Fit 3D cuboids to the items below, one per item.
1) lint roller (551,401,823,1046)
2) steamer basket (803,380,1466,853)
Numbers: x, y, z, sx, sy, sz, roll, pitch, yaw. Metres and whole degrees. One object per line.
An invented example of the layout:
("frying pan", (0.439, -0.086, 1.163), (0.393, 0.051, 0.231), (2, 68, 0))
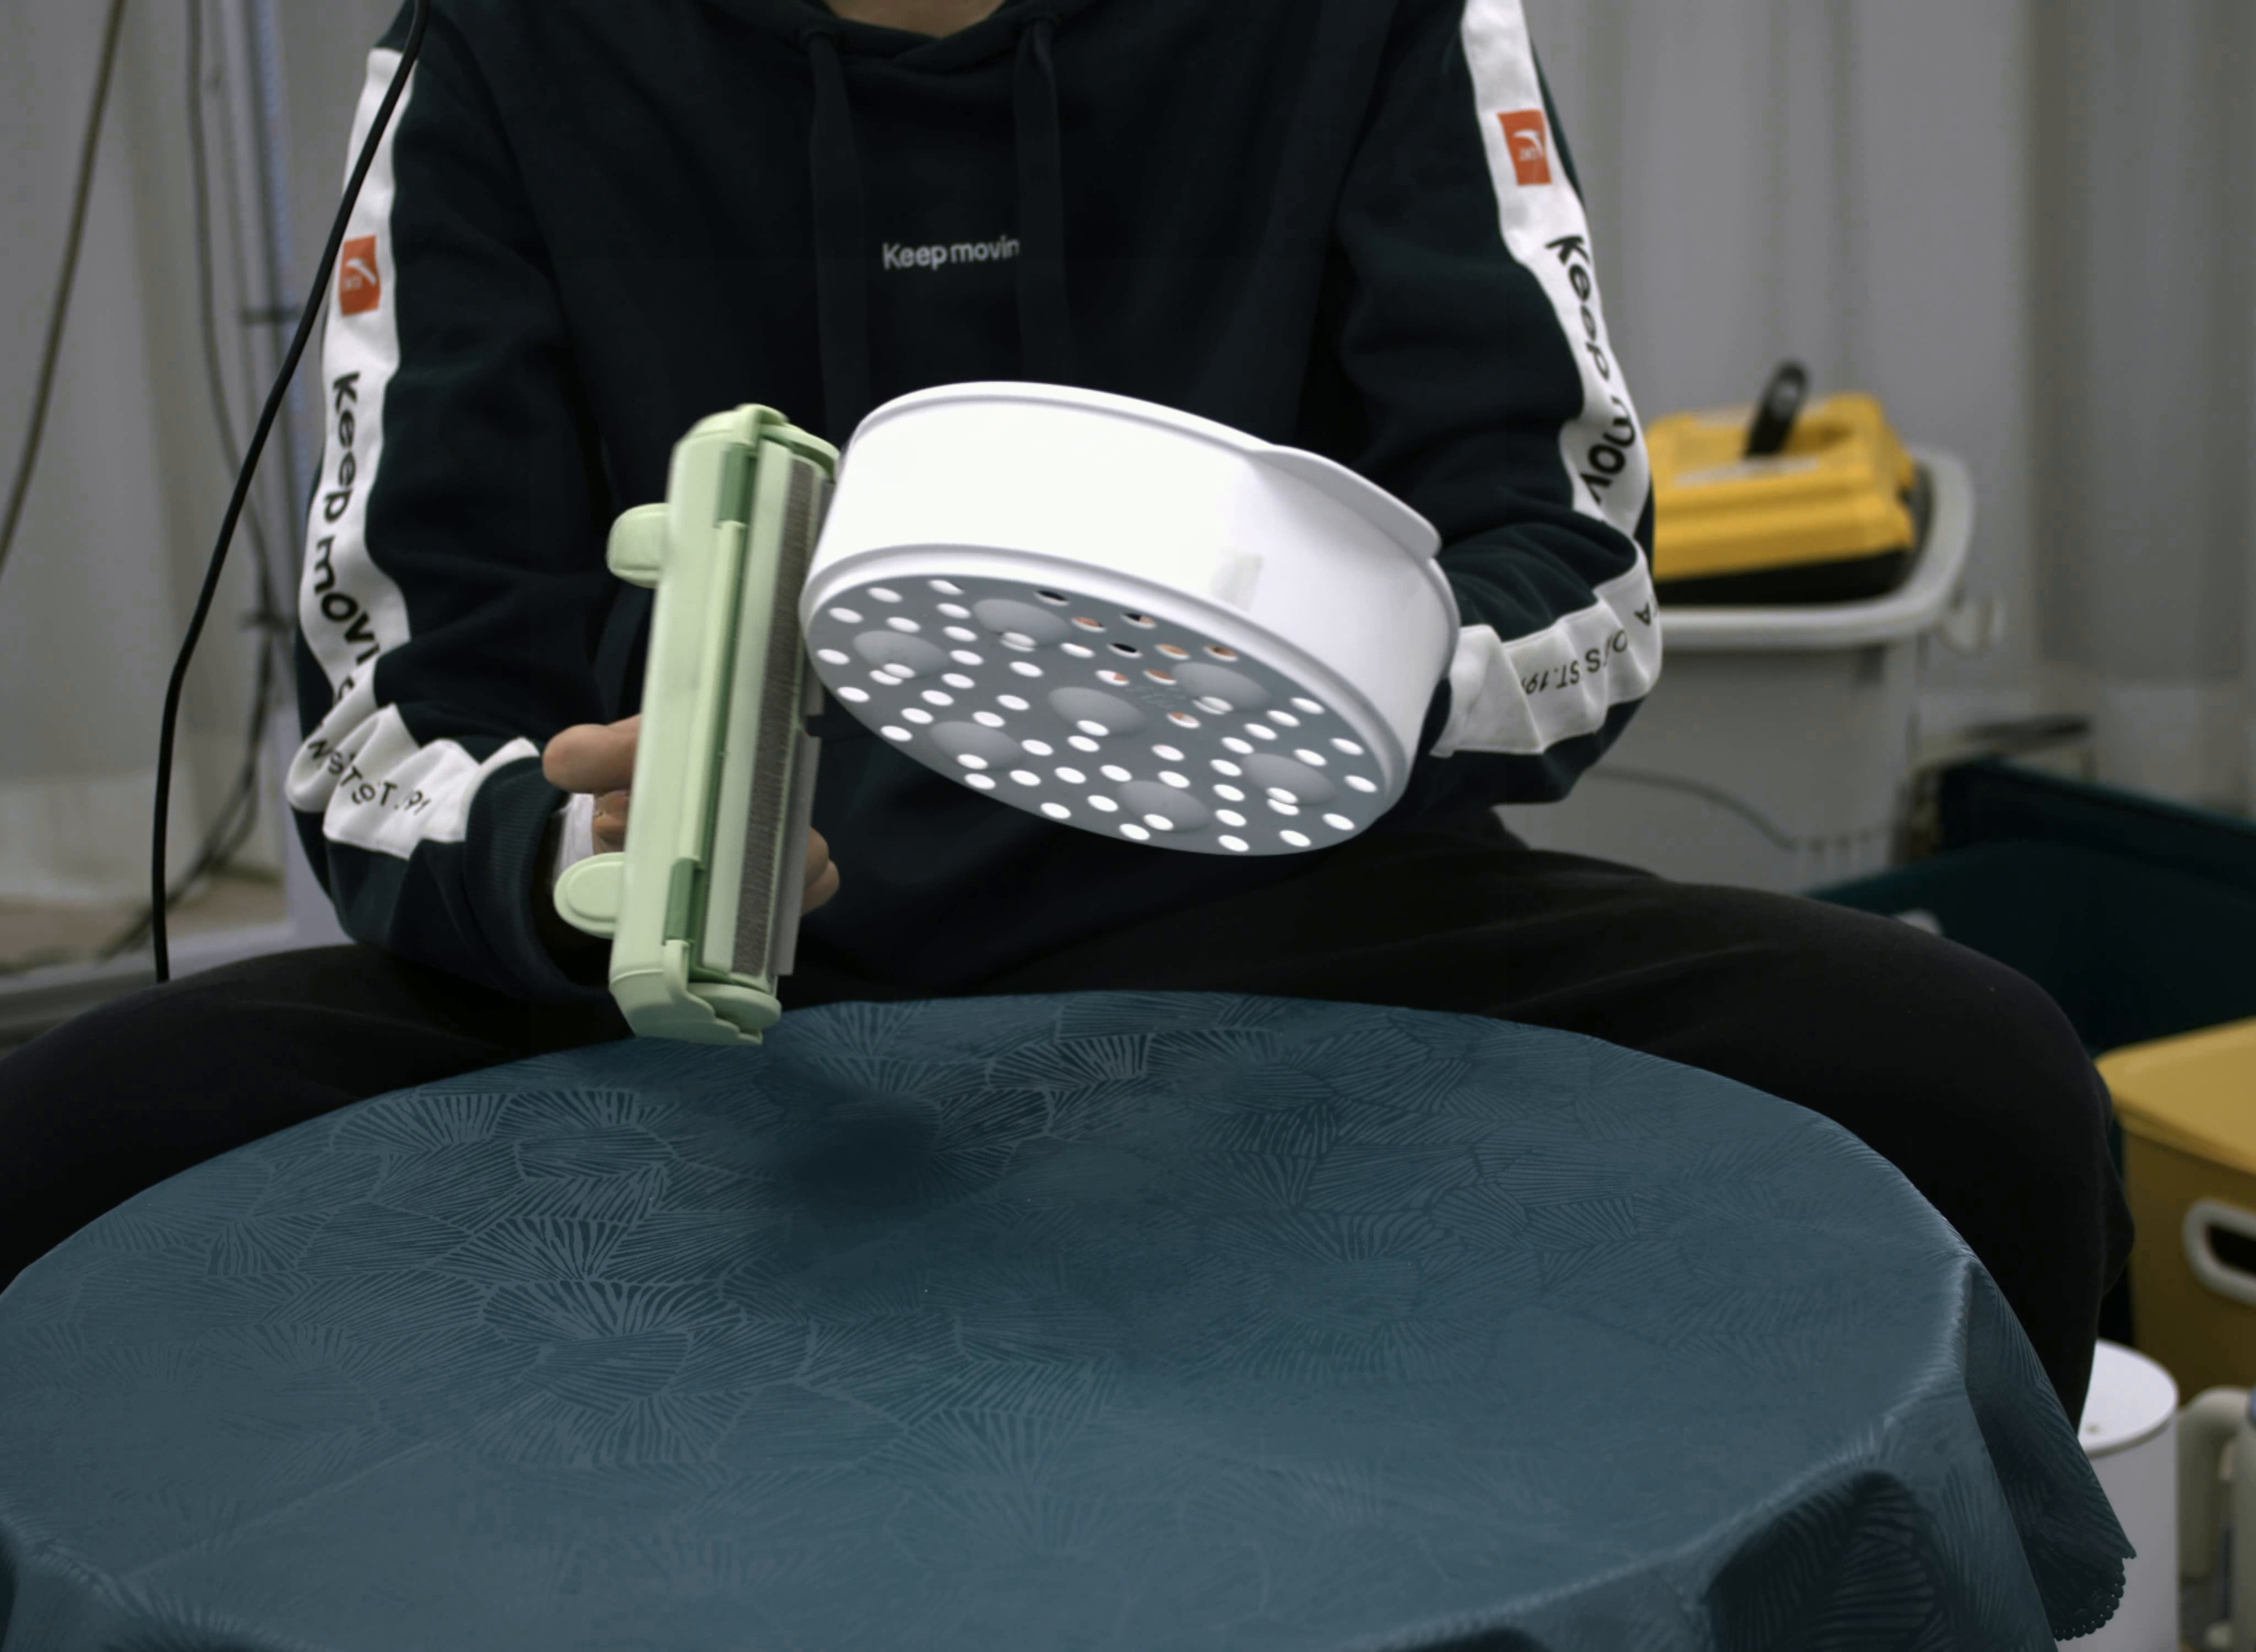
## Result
("lint roller", (-0.144, -0.017, 1.758), (0.082, 0.201, 0.182), (7, -18, -9))
("steamer basket", (-0.001, -0.058, 1.674), (0.200, 0.070, 0.230), (30, -23, -30))
